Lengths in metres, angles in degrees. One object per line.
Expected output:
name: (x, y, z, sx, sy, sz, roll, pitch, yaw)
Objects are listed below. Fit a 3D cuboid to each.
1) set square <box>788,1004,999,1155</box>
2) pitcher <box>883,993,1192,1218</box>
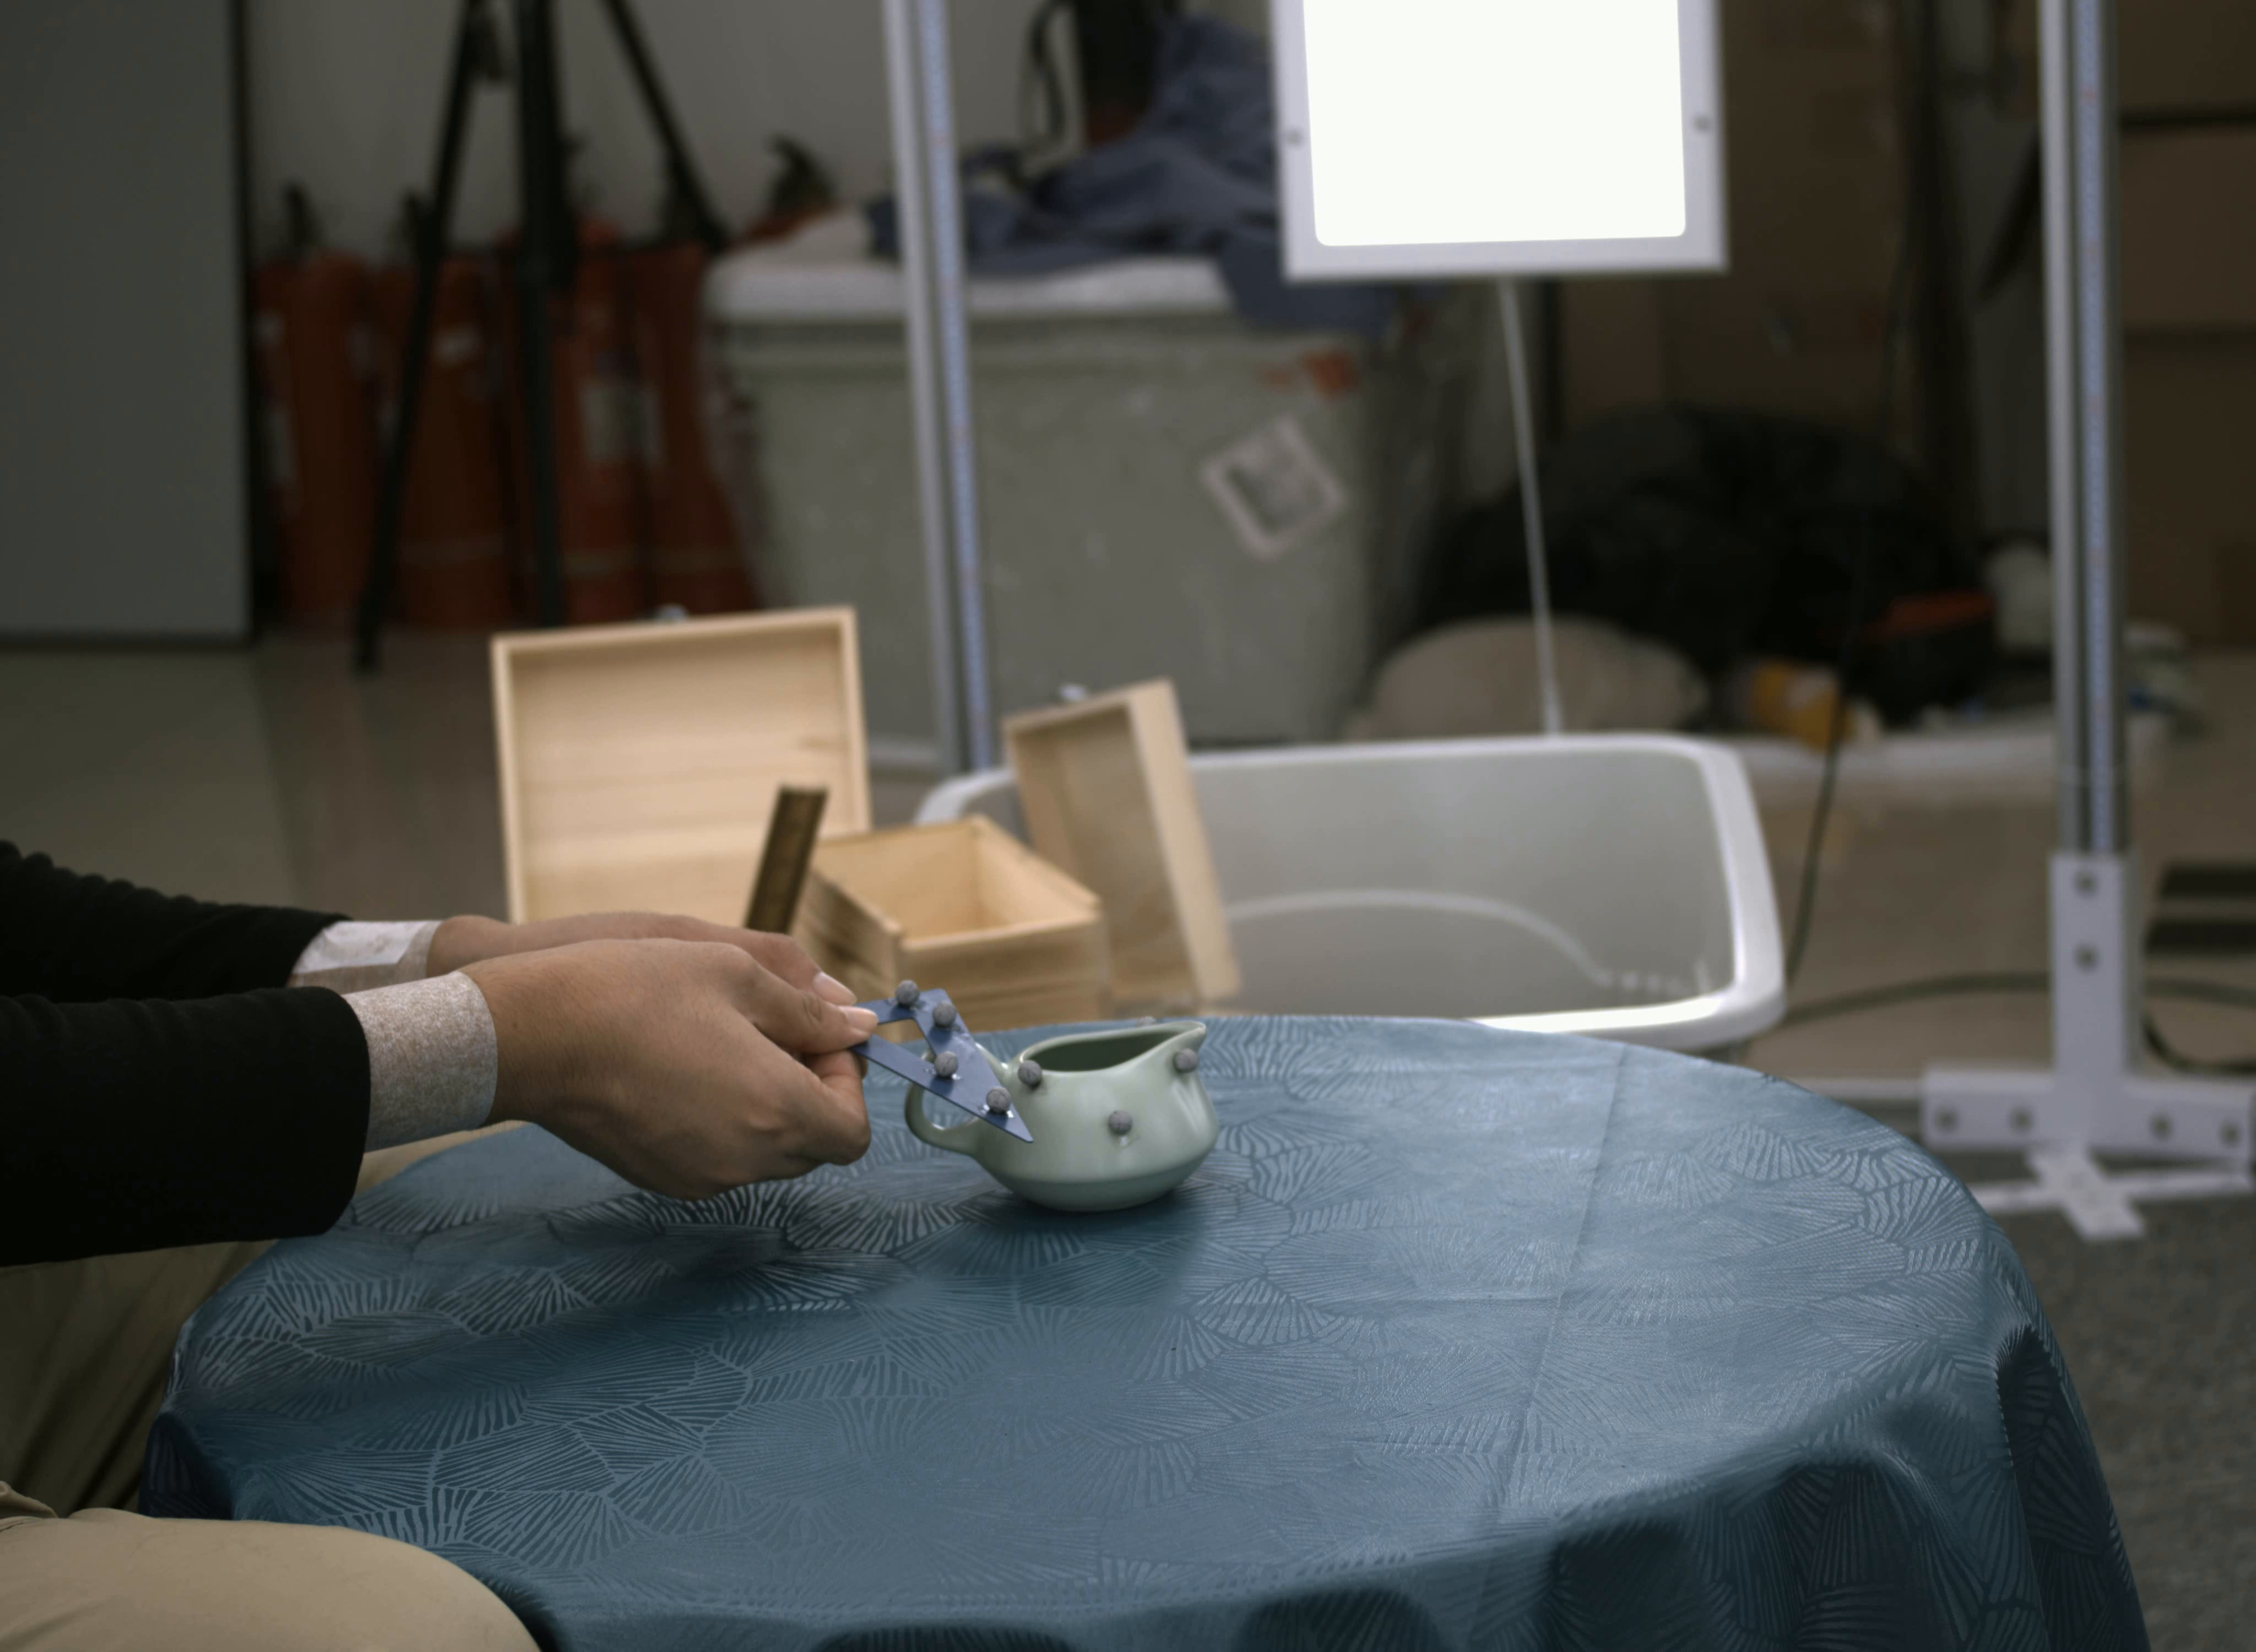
set square: (-0.080, 0.082, 1.850, 0.060, 0.006, 0.132, 4, 19, -12)
pitcher: (-0.034, 0.095, 1.896, 0.108, 0.061, 0.085, 14, 26, 6)
